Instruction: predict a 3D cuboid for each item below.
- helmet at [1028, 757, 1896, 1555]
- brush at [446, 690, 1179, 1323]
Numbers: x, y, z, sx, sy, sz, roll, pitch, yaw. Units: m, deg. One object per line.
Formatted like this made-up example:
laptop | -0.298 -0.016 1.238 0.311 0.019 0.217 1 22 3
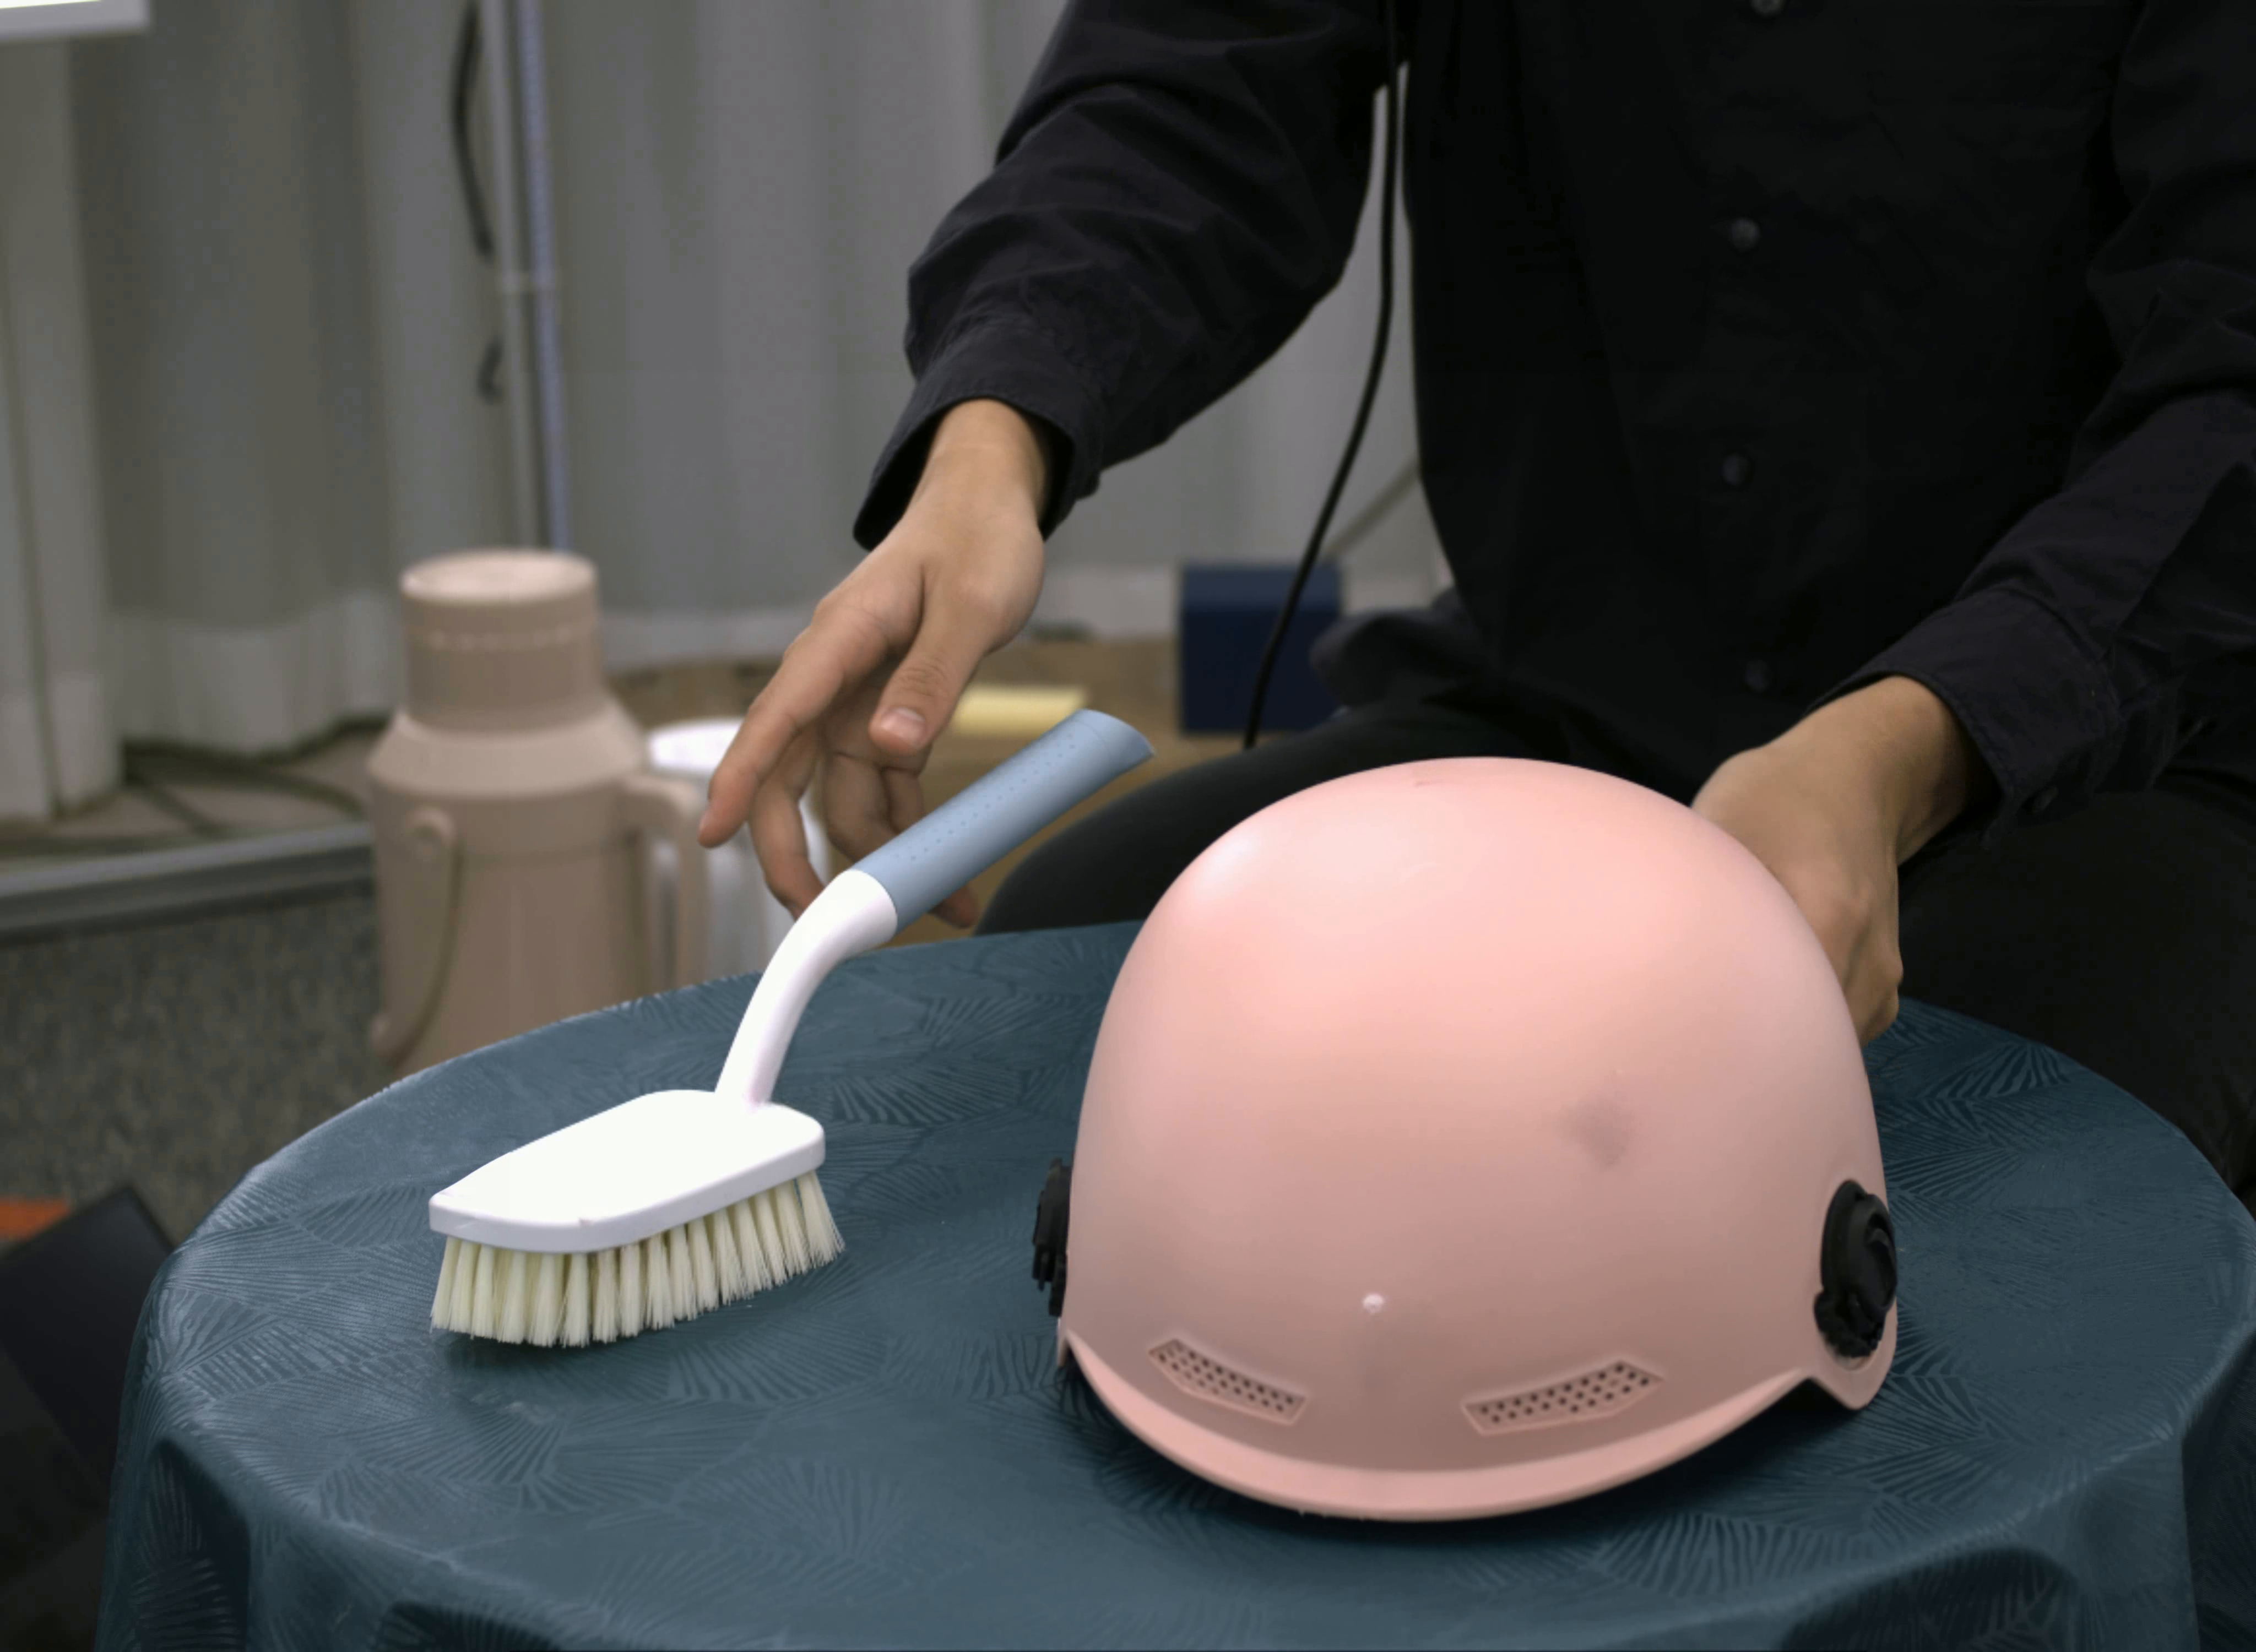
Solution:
helmet | 0.090 0.071 1.409 0.236 0.158 0.264 2 20 14
brush | -0.078 0.067 1.569 0.084 0.085 0.320 41 47 14
